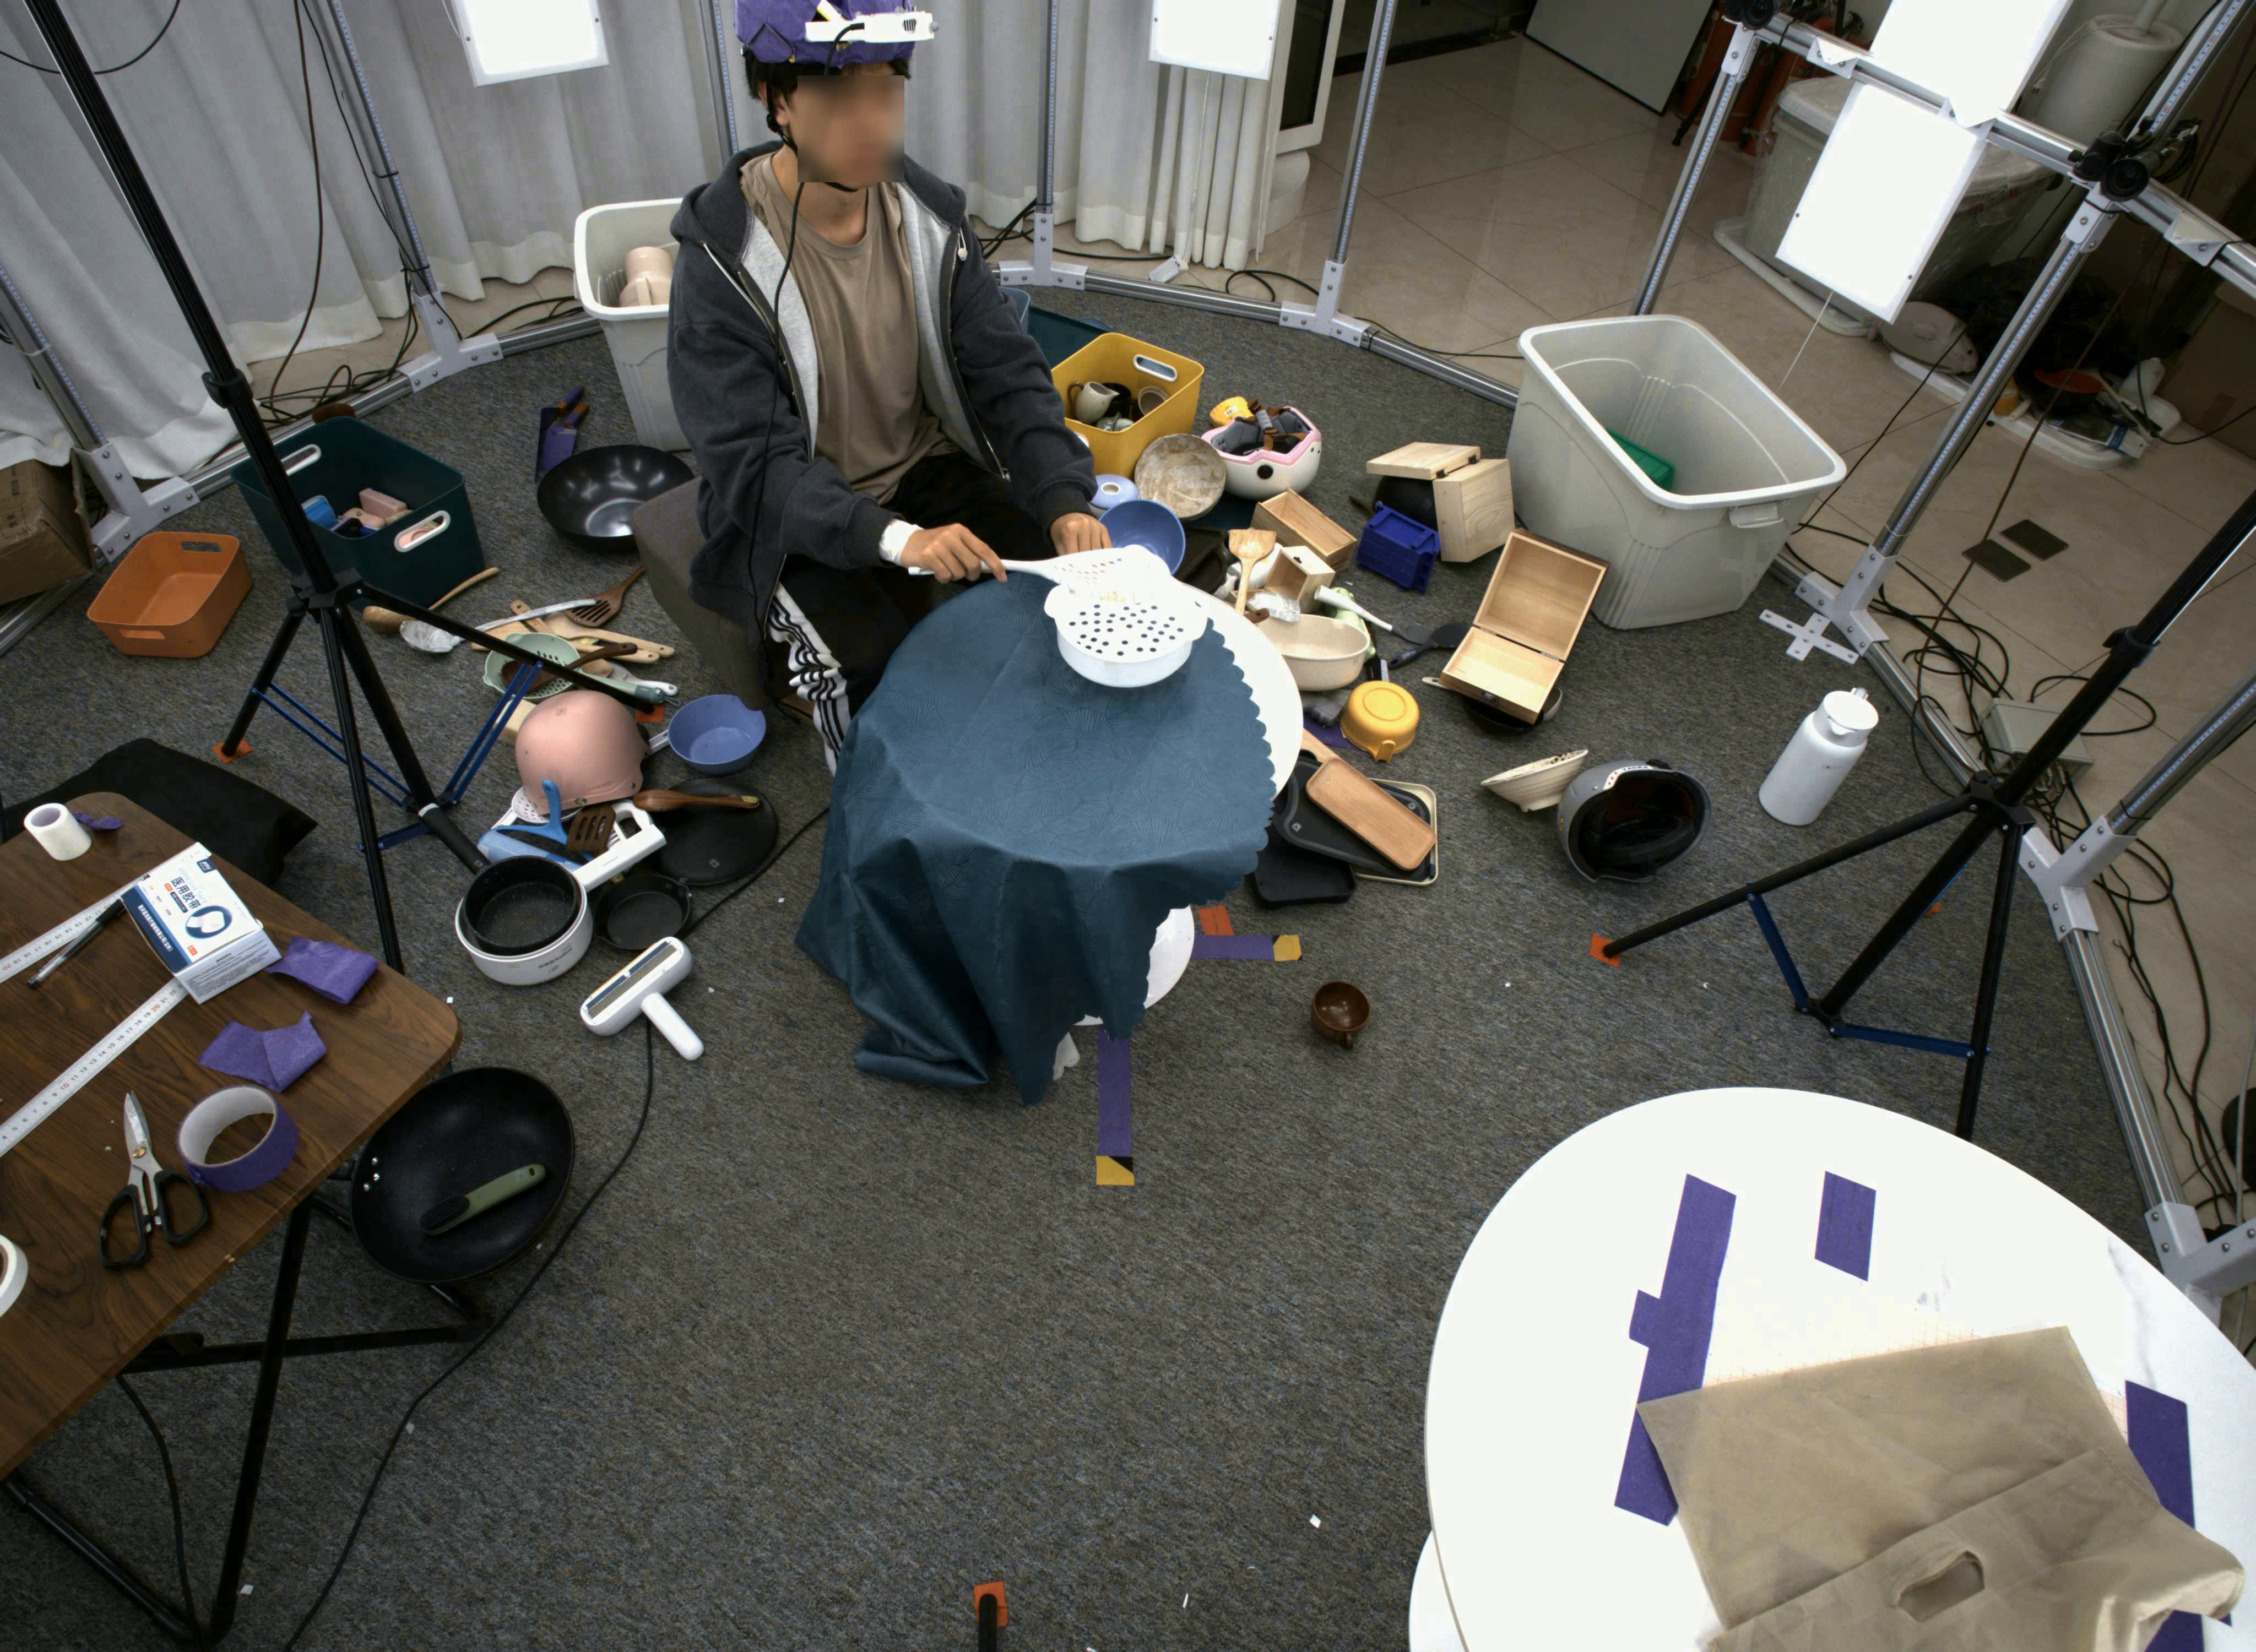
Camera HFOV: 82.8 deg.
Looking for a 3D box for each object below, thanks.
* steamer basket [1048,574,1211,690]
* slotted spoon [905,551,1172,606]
[{"bbox_3d":[0.001,-0.282,1.827,0.231,0.067,0.206,12,50,6],"label":"steamer basket"},{"bbox_3d":[-0.117,-0.331,1.707,0.348,0.135,0.051,8,77,2],"label":"slotted spoon"}]
